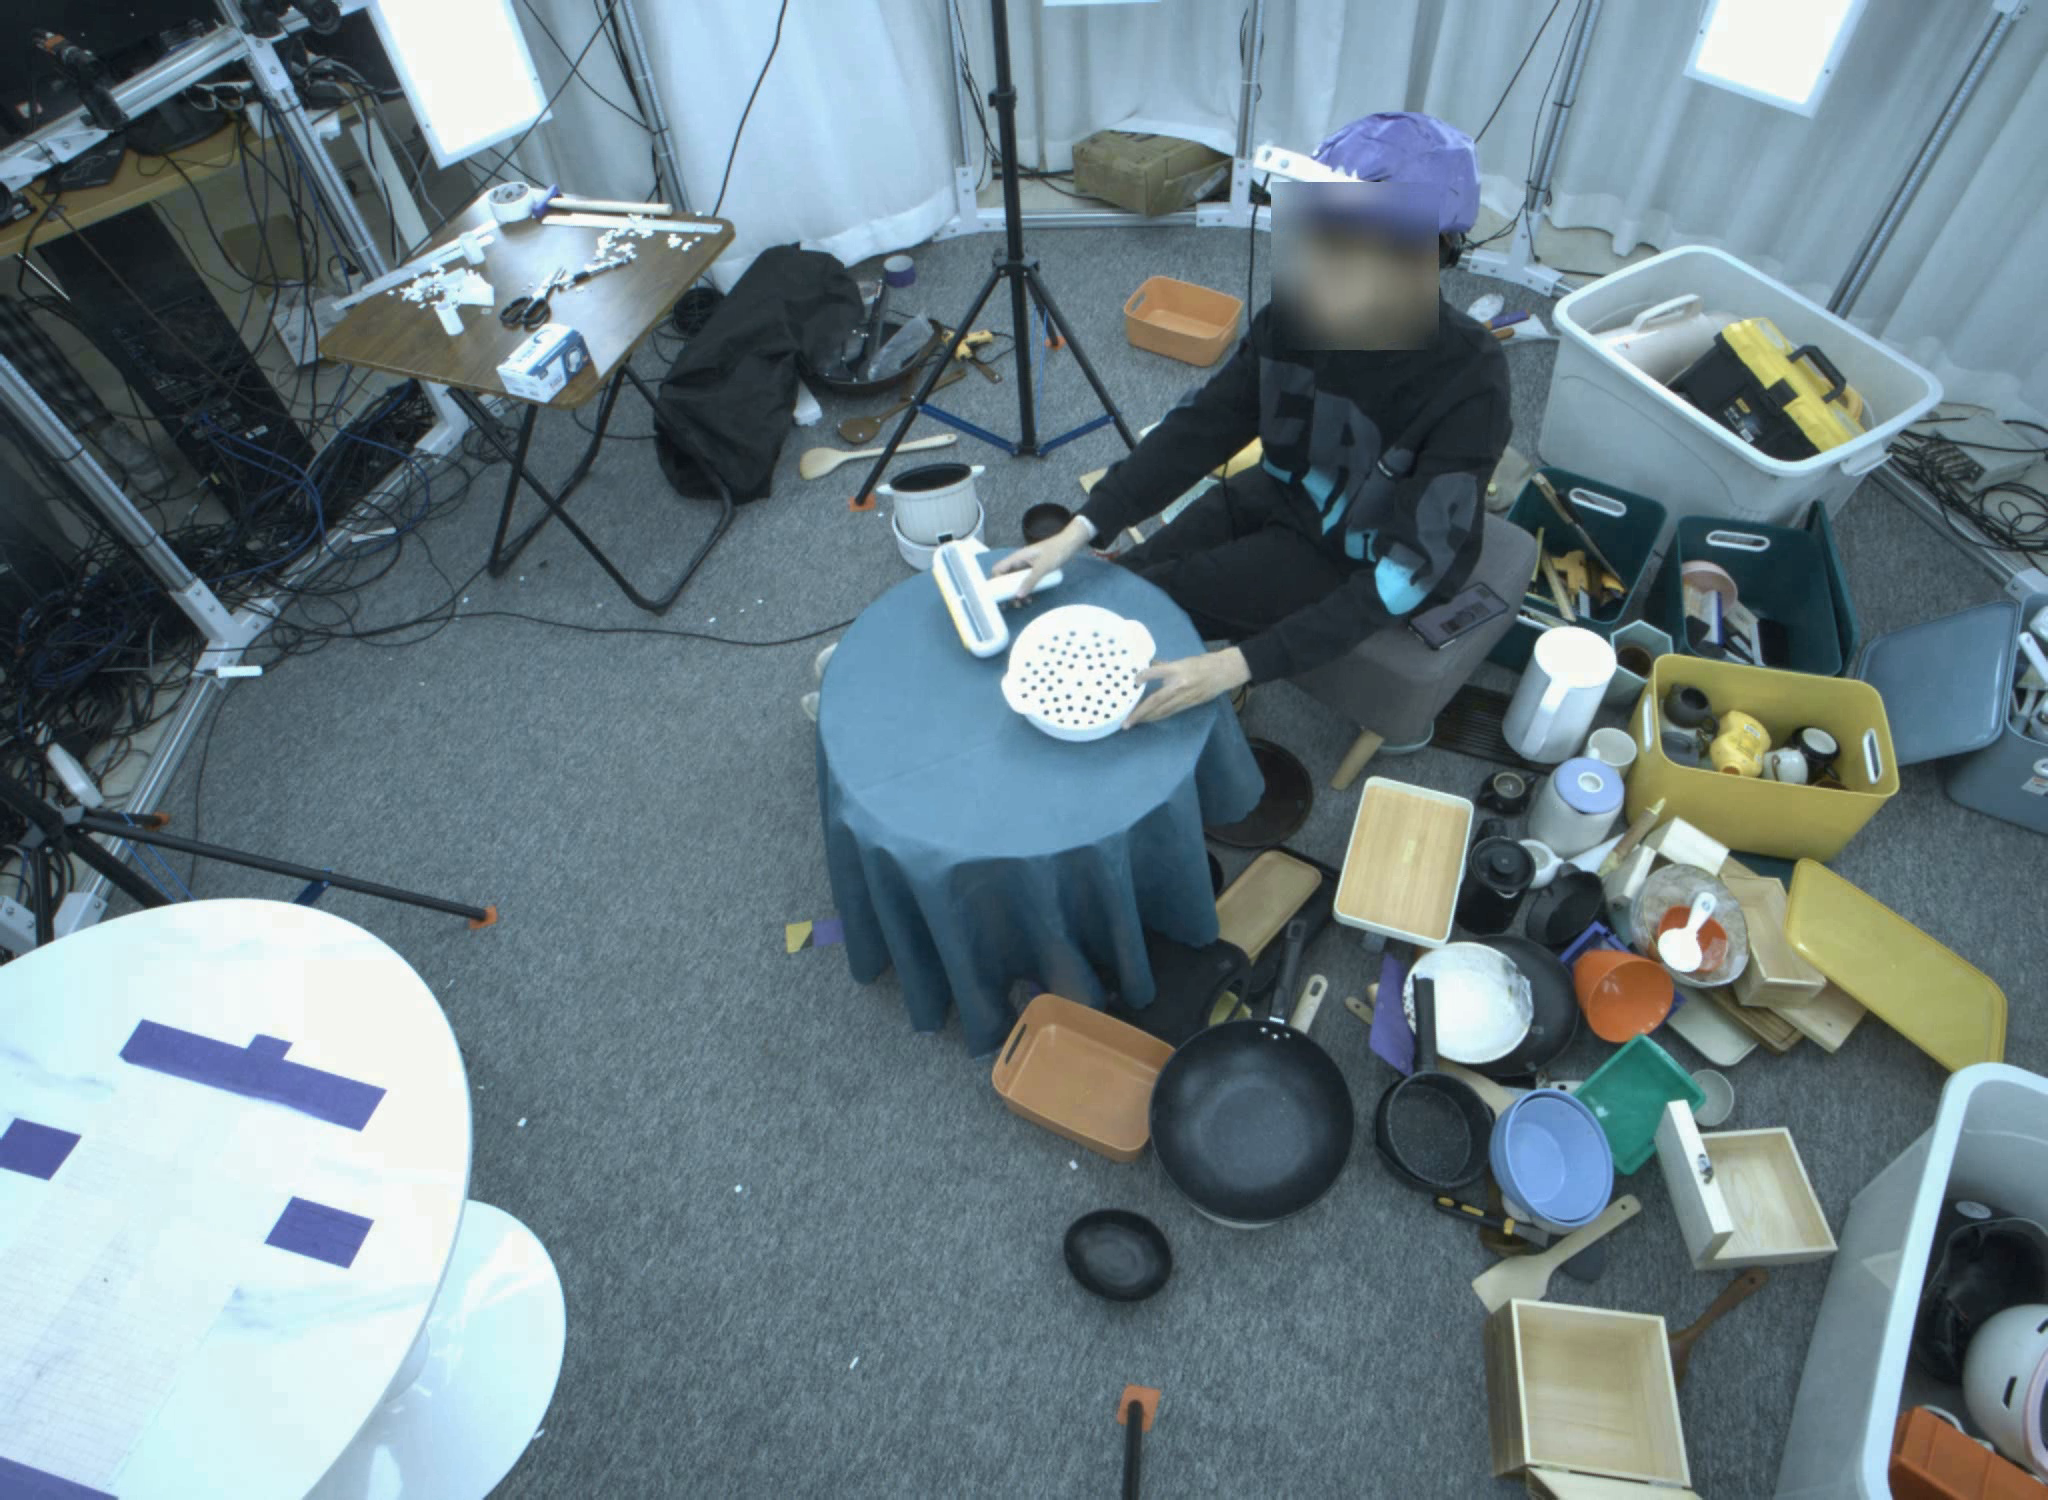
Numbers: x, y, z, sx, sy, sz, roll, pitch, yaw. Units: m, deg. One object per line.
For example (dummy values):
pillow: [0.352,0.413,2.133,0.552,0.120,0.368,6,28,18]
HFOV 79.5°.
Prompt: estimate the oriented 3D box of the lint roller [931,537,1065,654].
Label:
lint roller: [-0.031,-0.254,1.901,0.193,0.075,0.190,-19,70,-5]

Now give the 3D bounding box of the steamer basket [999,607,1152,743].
steamer basket: [0.075,-0.107,1.798,0.232,0.070,0.199,-23,70,-10]
